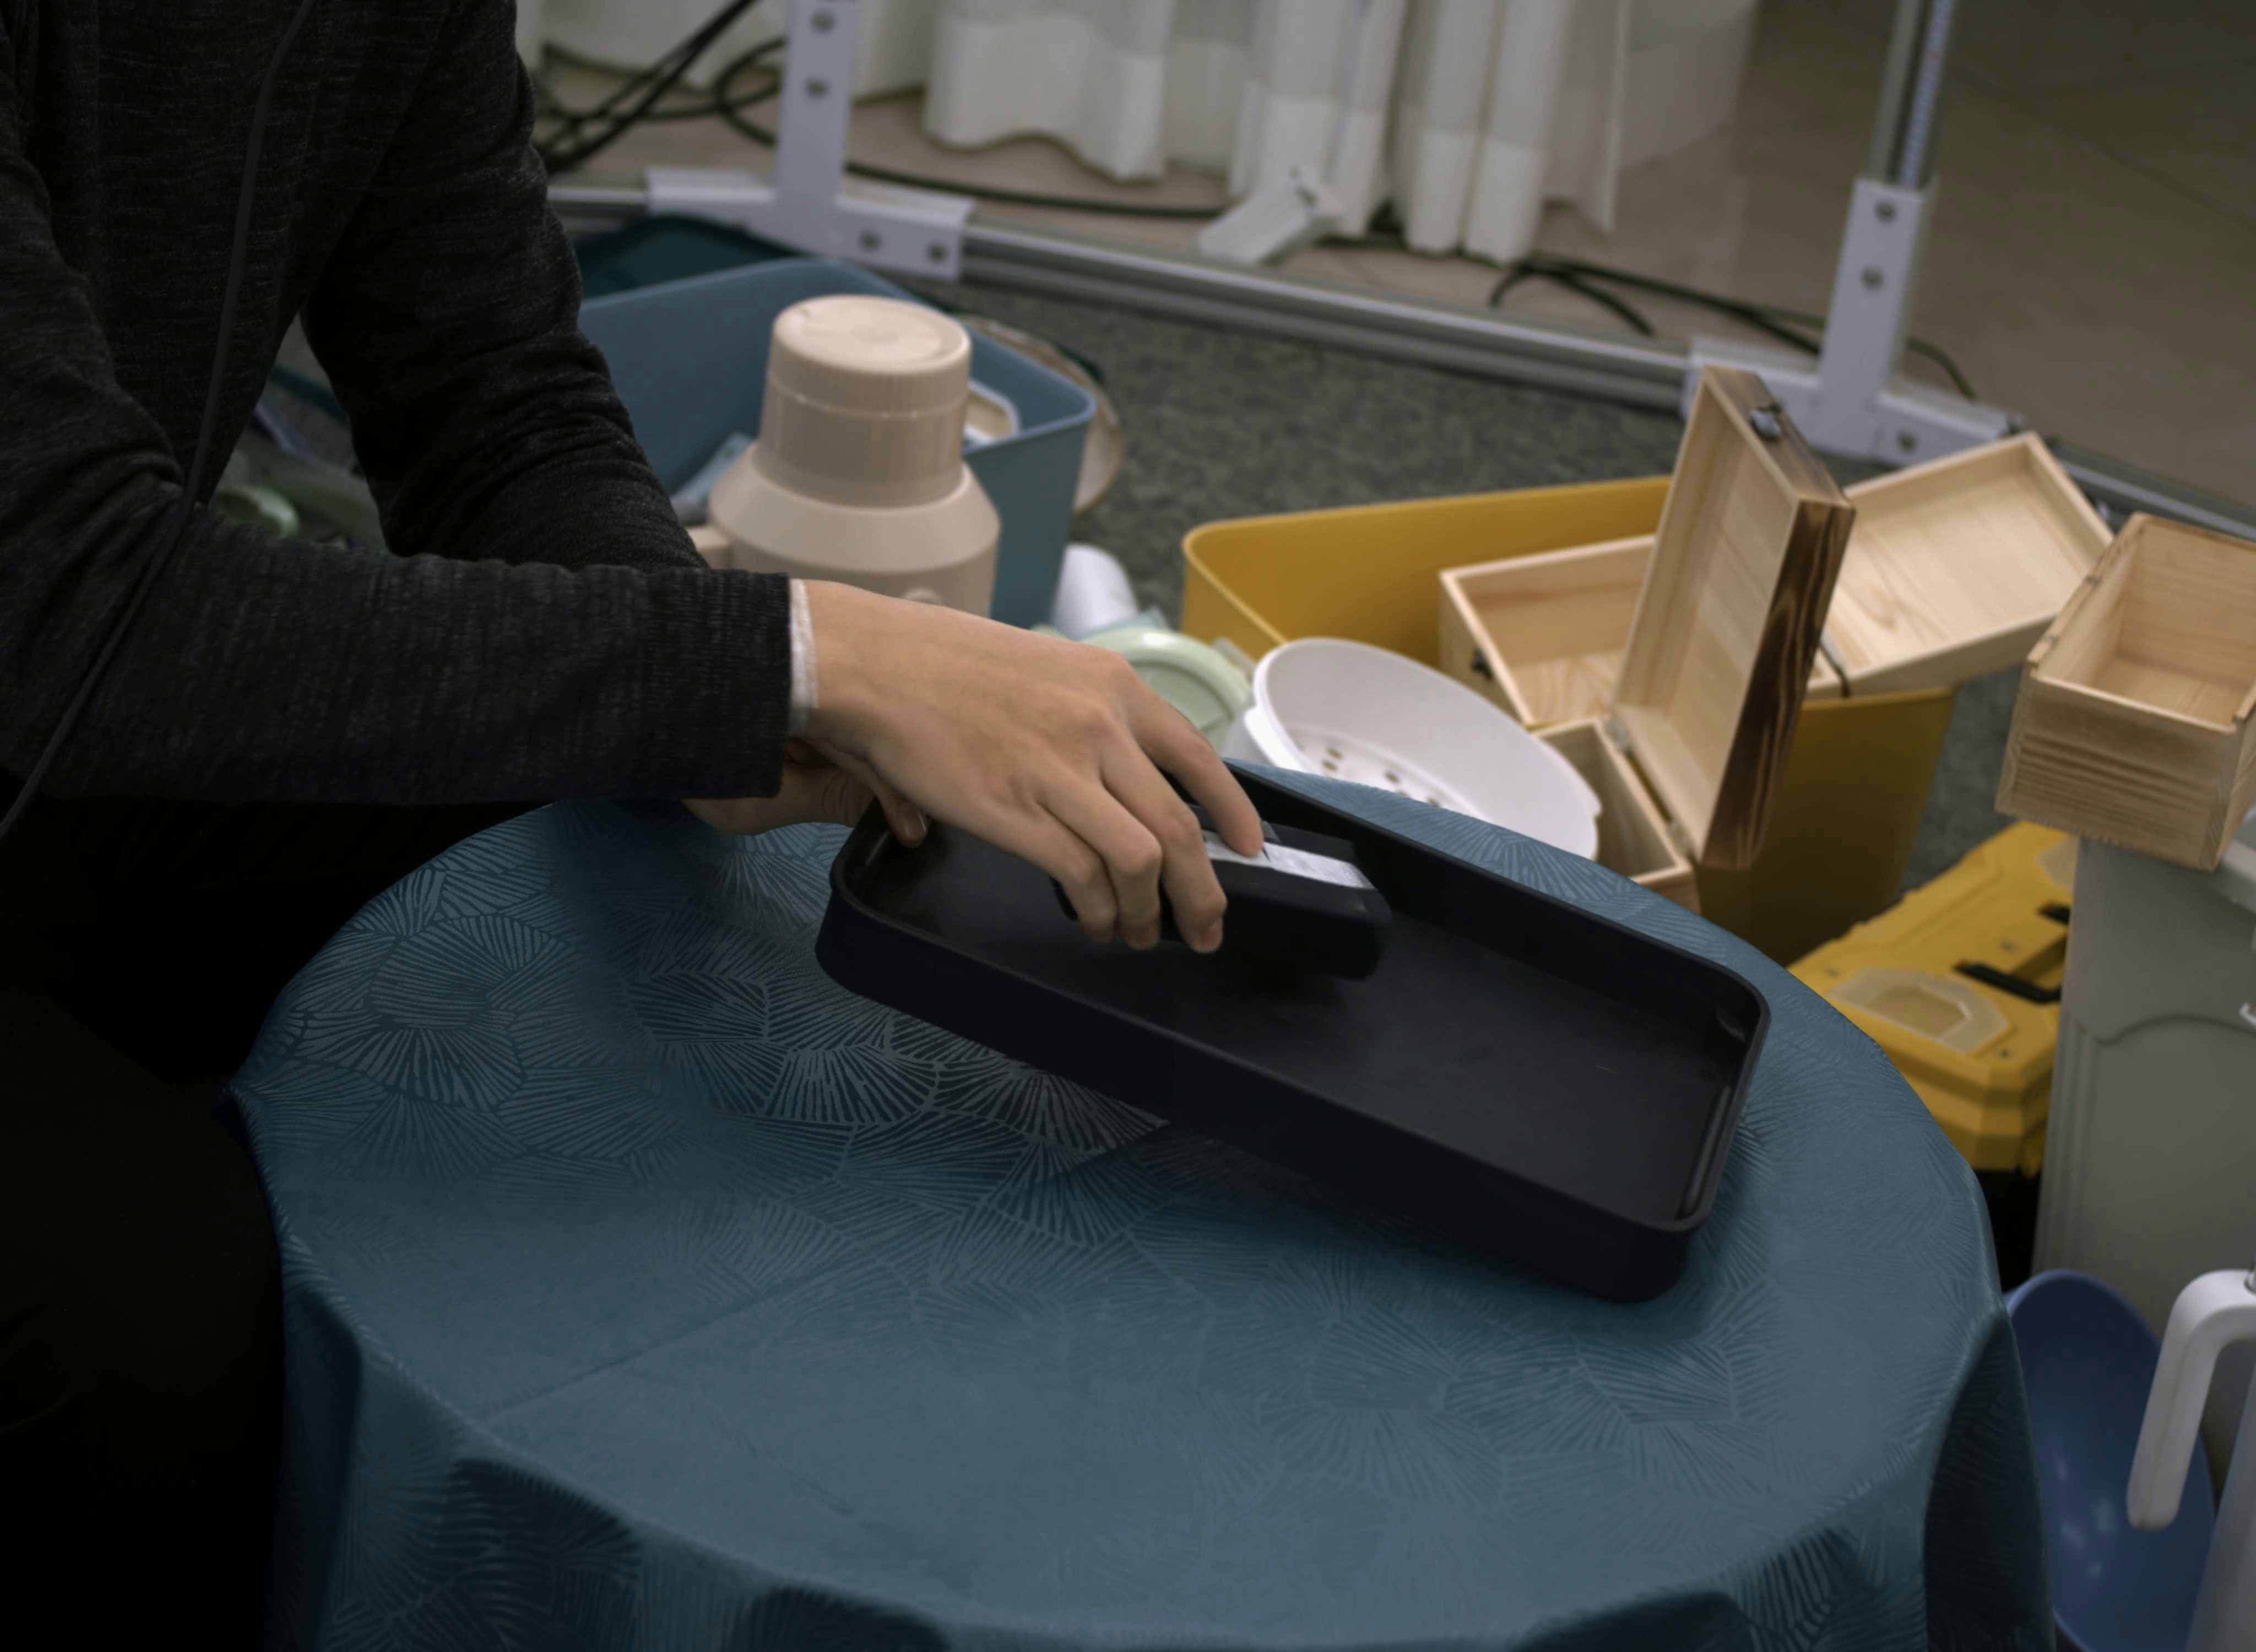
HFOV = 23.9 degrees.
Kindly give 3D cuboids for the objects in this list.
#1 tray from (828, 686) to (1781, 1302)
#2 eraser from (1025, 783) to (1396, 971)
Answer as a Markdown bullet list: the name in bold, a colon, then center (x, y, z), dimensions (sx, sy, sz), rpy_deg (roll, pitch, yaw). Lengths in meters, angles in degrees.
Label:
- **tray**: center (0.064, 0.055, 1.846), dimensions (0.318, 0.037, 0.185), rpy_deg (20, 30, 4)
- **eraser**: center (0.028, 0.018, 1.844), dimensions (0.124, 0.030, 0.054), rpy_deg (11, 29, -30)
